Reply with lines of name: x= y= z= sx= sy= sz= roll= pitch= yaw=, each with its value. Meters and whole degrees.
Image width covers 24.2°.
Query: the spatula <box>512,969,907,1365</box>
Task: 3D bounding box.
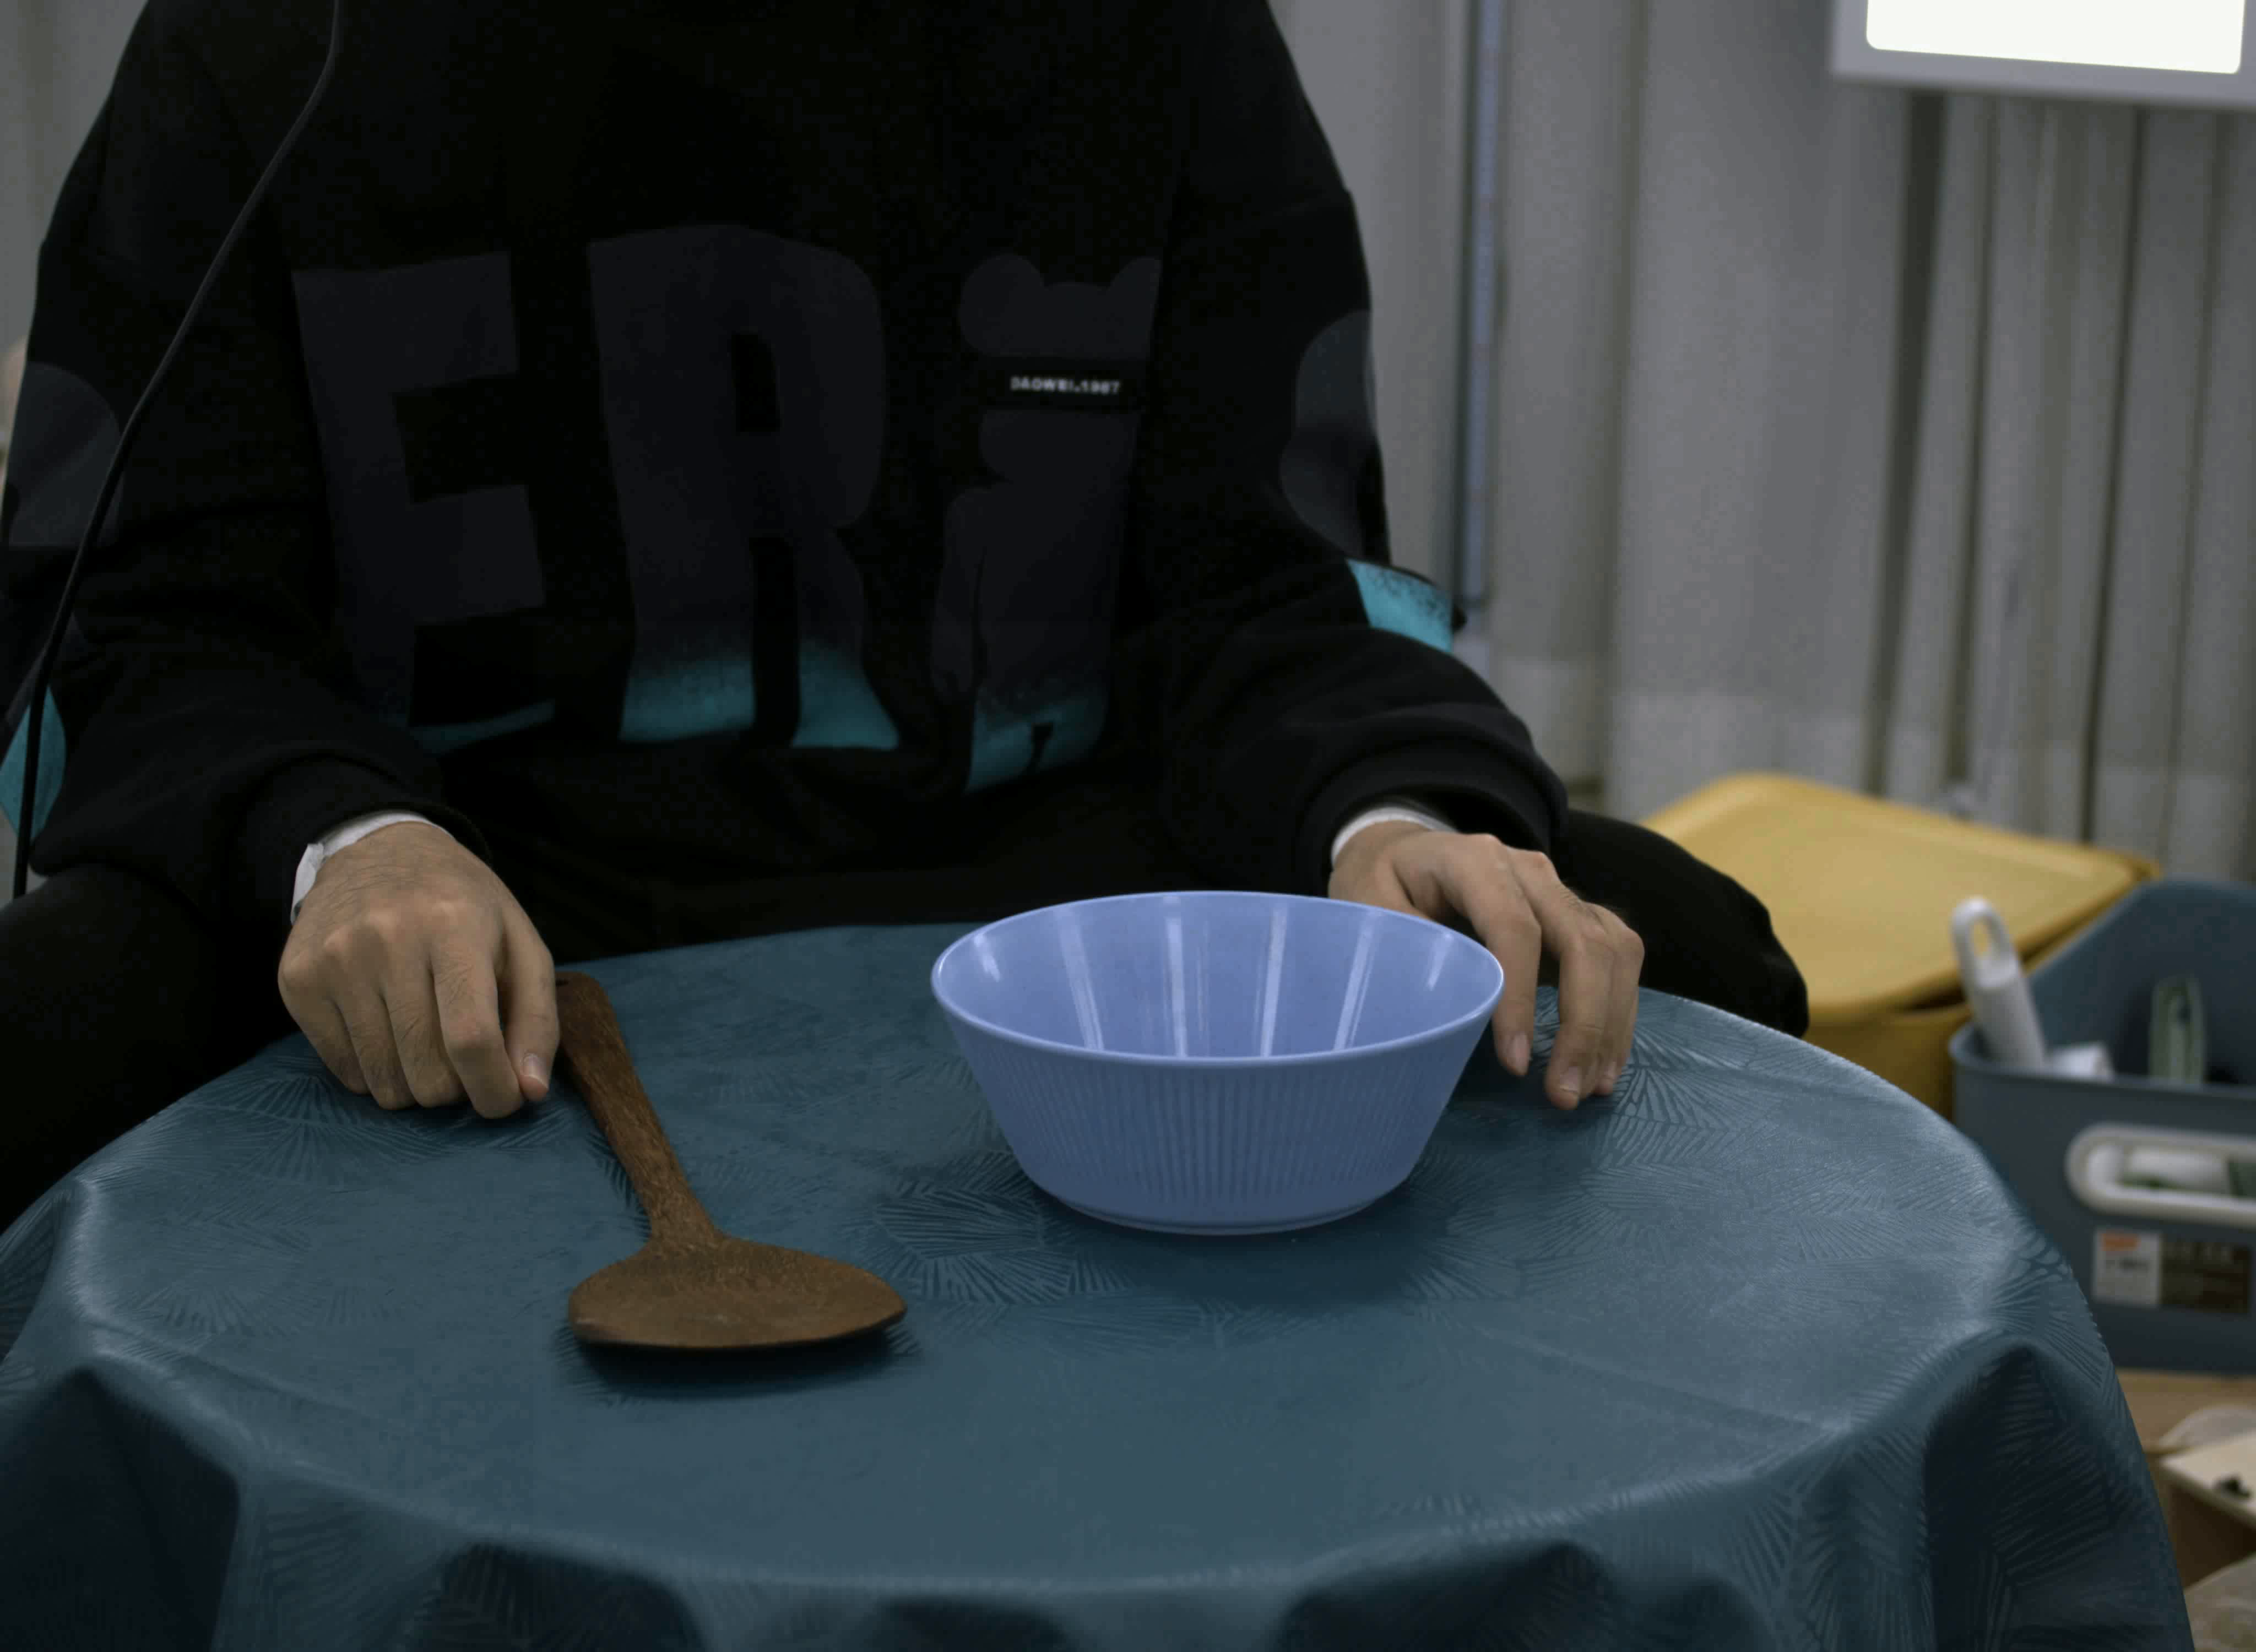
spatula: x=-0.152 y=0.100 z=1.641 sx=0.096 sy=0.016 sz=0.382 roll=-3 pitch=16 yaw=-15

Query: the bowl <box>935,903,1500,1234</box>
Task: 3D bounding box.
bowl: x=0.027 y=0.077 z=1.627 sx=0.175 sy=0.071 sz=0.175 roll=1 pitch=15 yaw=0
